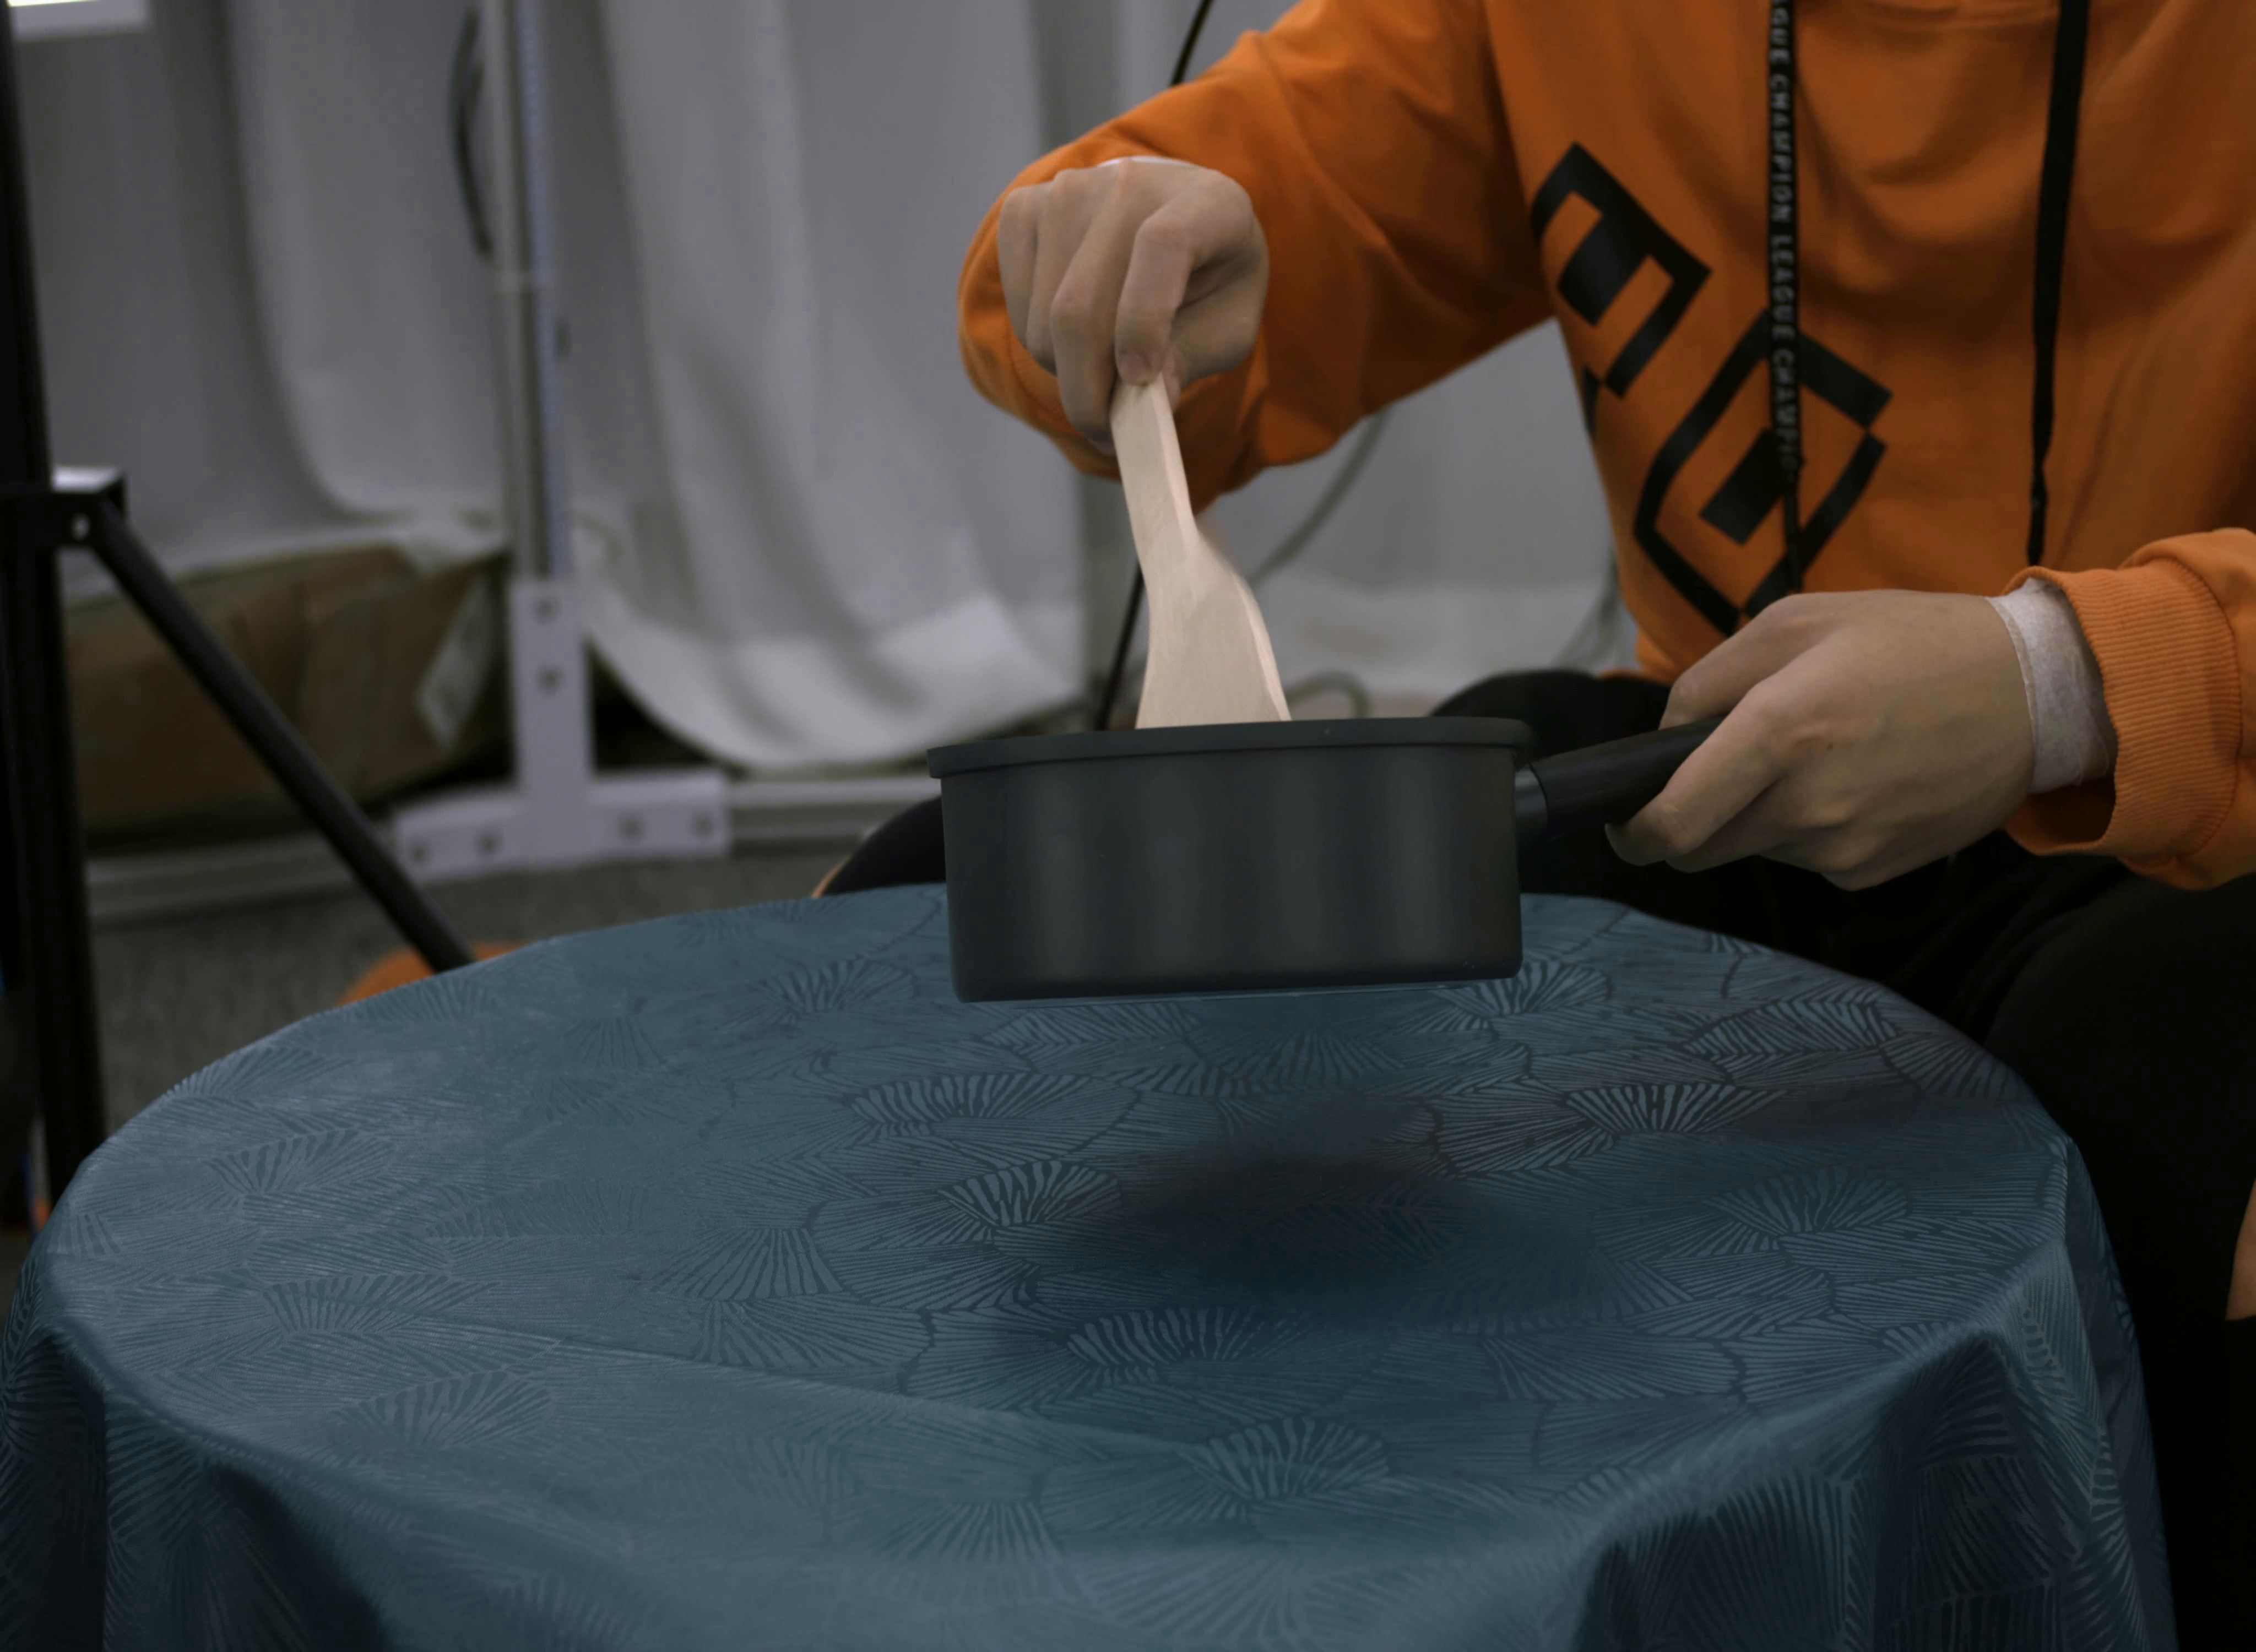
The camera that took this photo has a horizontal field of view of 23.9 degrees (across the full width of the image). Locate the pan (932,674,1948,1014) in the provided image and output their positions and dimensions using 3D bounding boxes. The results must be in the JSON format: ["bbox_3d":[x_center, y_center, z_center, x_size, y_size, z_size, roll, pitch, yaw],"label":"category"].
[{"bbox_3d":[0.100,0.006,1.546,0.321,0.087,0.175,-3,0,-26],"label":"pan"}]

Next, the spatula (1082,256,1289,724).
[{"bbox_3d":[0.011,-0.088,1.617,0.010,0.072,0.297,15,34,-20],"label":"spatula"}]
